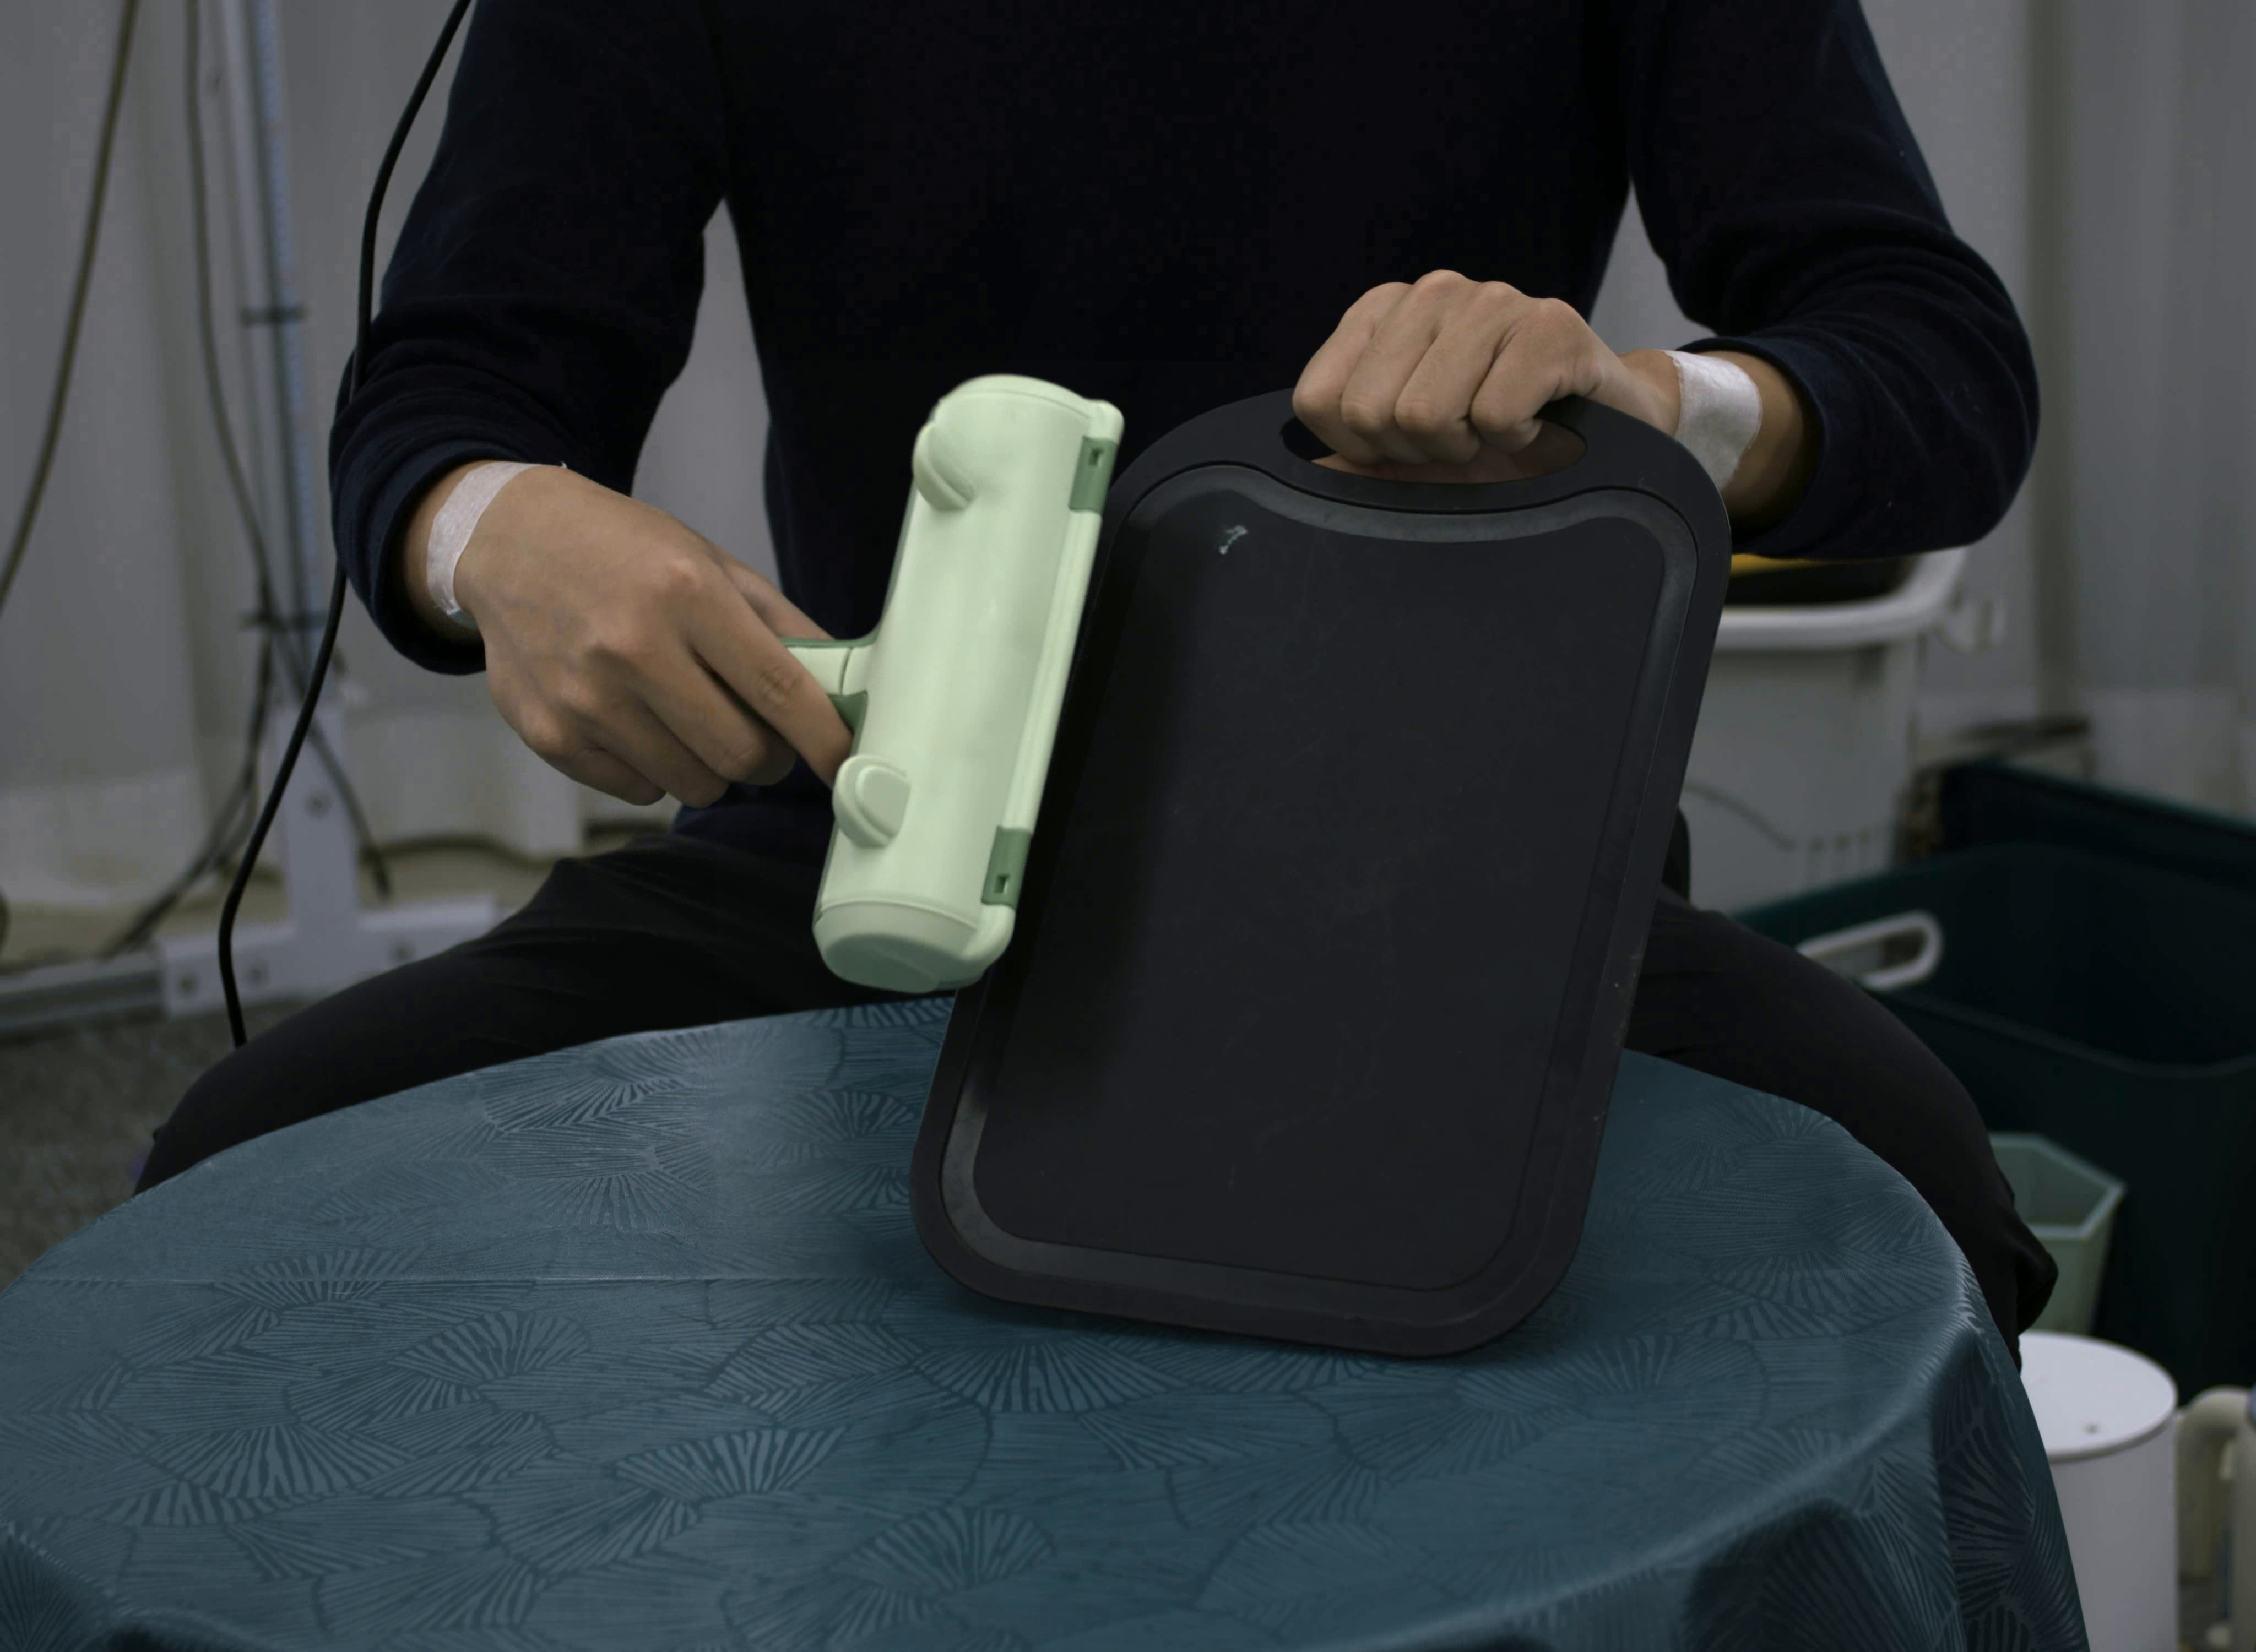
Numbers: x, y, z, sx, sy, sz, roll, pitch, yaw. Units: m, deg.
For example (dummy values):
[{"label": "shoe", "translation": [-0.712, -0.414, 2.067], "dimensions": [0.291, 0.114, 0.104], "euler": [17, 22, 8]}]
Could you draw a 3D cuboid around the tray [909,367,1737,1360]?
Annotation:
[{"label": "tray", "translation": [0.061, 0.001, 1.643], "dimensions": [0.211, 0.329, 0.009], "euler": [6, -26, 22]}]

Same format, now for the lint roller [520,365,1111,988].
[{"label": "lint roller", "translation": [-0.108, -0.053, 1.670], "dimensions": [0.183, 0.201, 0.081], "euler": [4, -28, 15]}]
